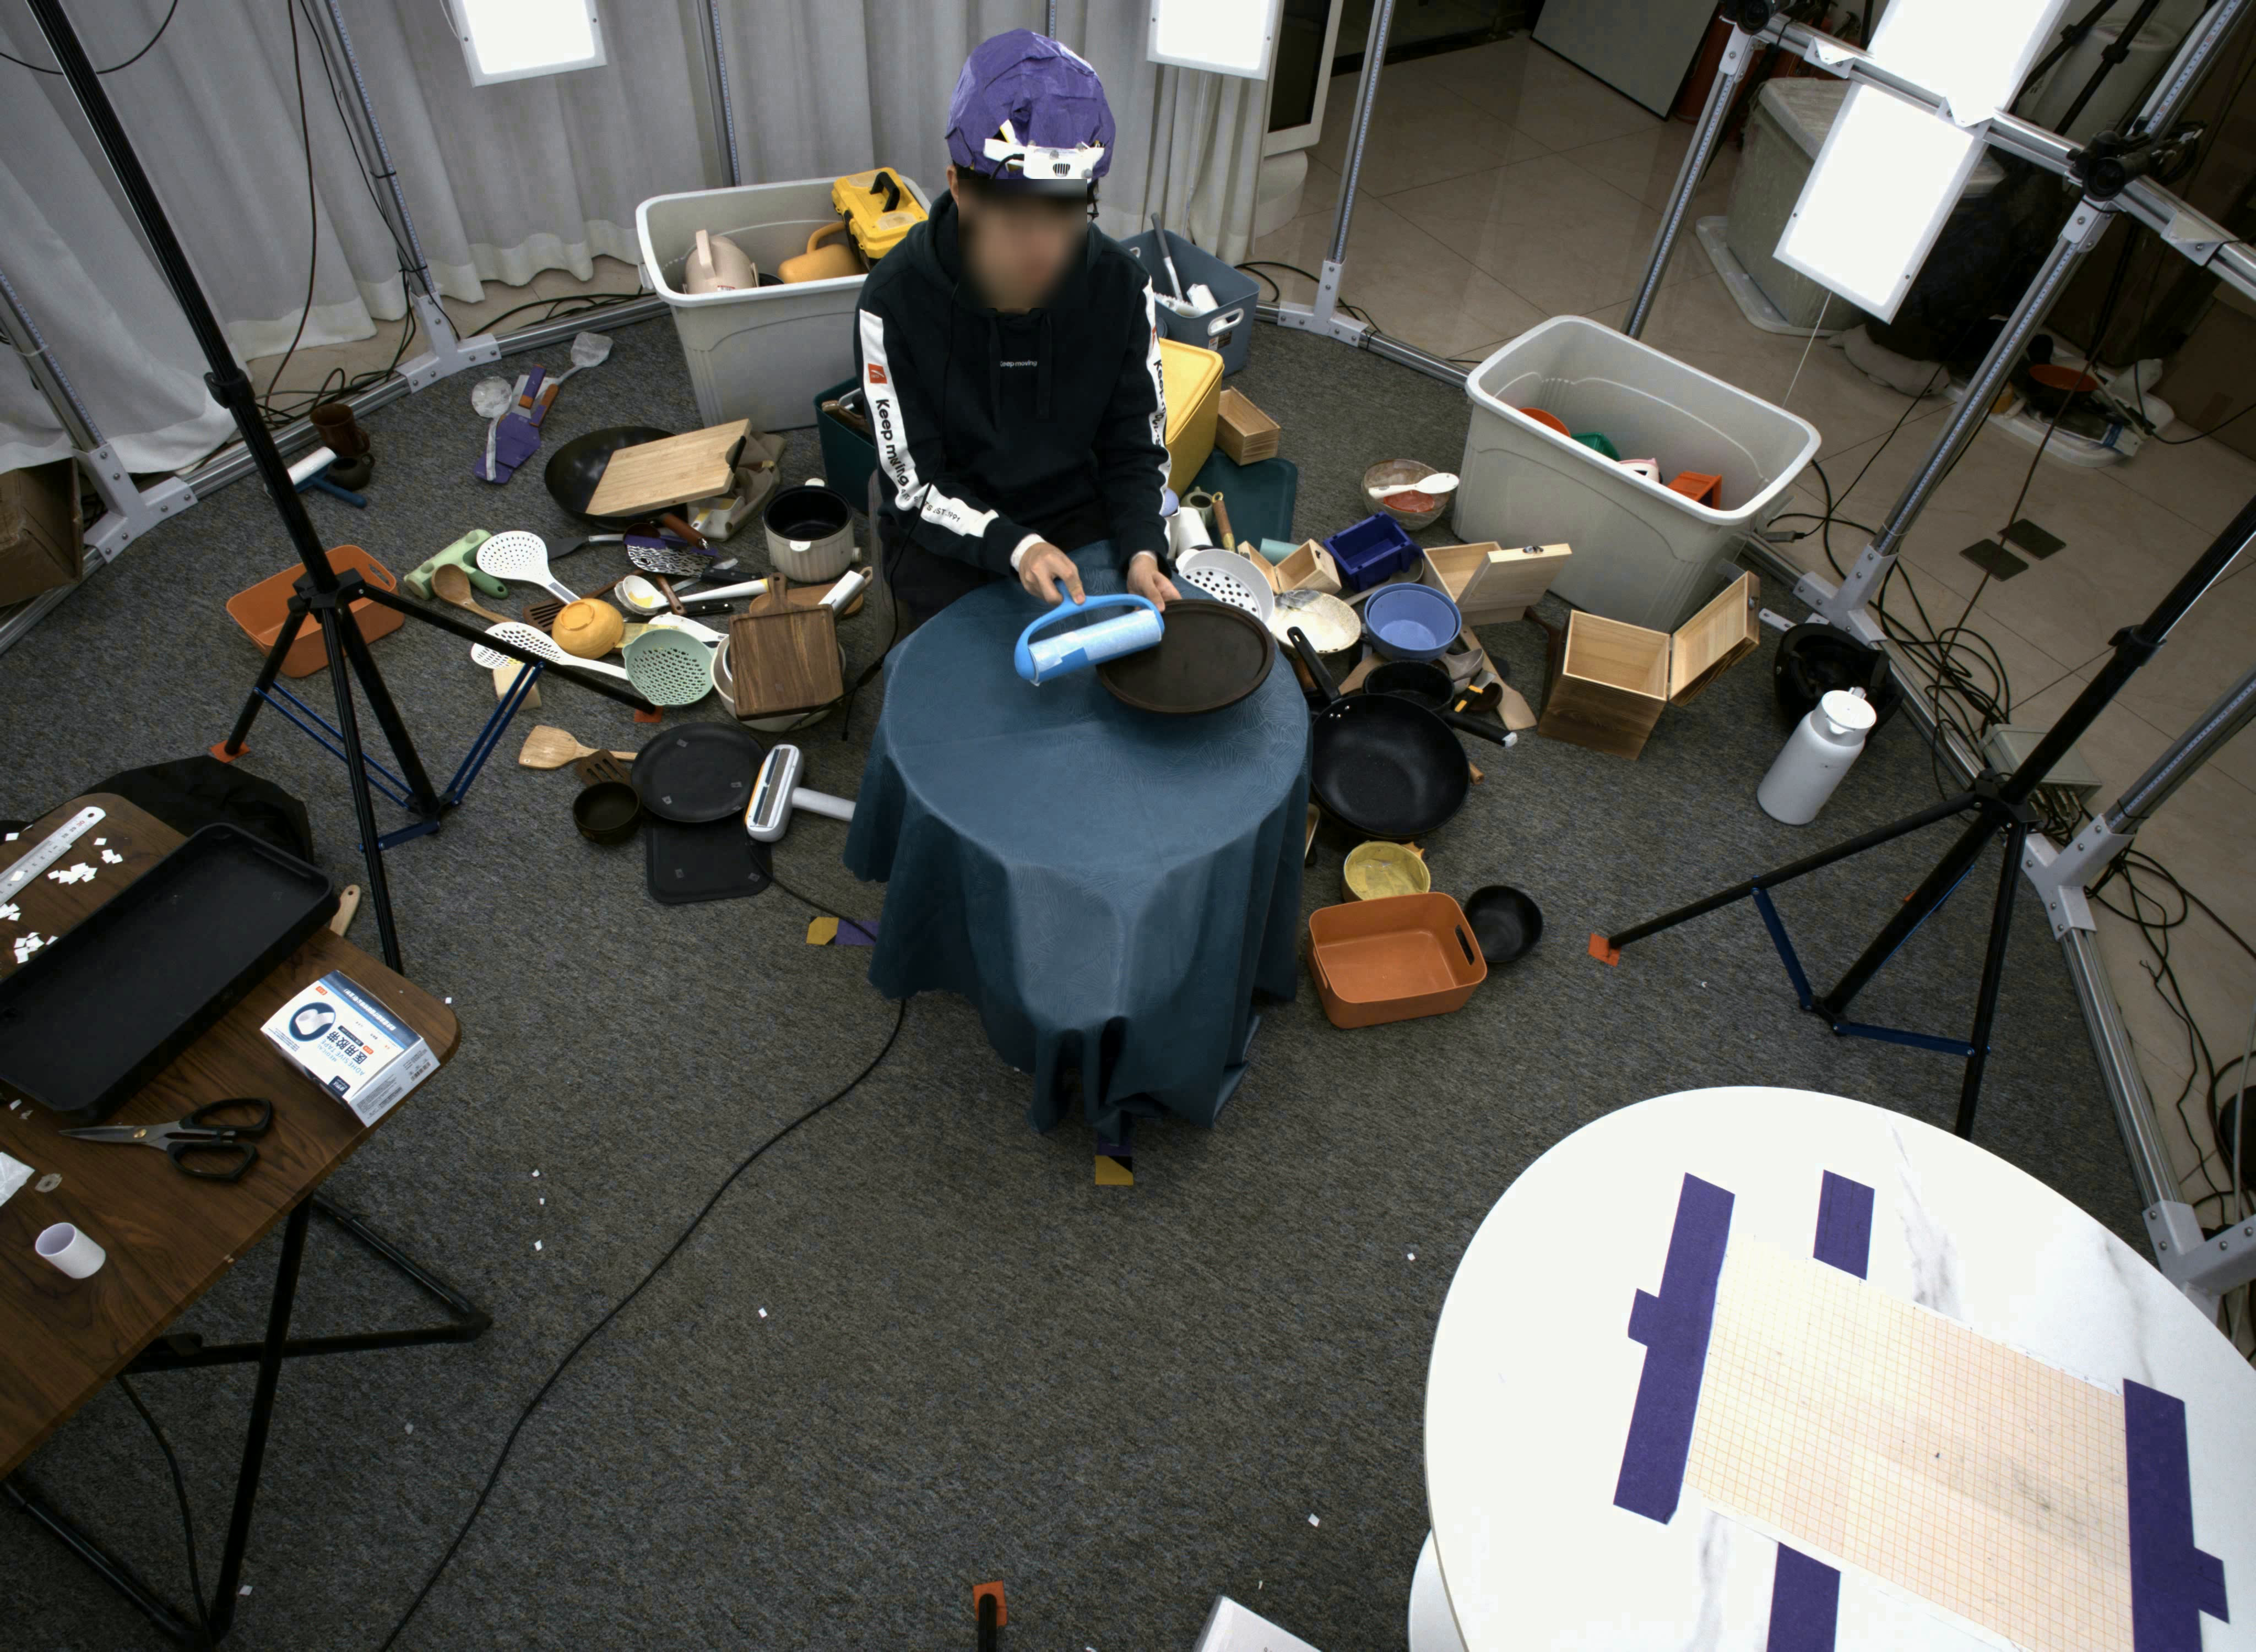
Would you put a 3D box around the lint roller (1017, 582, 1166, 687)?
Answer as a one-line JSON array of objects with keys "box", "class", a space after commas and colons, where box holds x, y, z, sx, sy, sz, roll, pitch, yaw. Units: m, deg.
[{"box": [-0.078, -0.294, 1.811, 0.230, 0.066, 0.183, -24, 63, -21], "class": "lint roller"}]

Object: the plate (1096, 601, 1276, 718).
[{"box": [0.081, -0.236, 1.806, 0.255, 0.028, 0.261, -4, 44, 3], "class": "plate"}]
